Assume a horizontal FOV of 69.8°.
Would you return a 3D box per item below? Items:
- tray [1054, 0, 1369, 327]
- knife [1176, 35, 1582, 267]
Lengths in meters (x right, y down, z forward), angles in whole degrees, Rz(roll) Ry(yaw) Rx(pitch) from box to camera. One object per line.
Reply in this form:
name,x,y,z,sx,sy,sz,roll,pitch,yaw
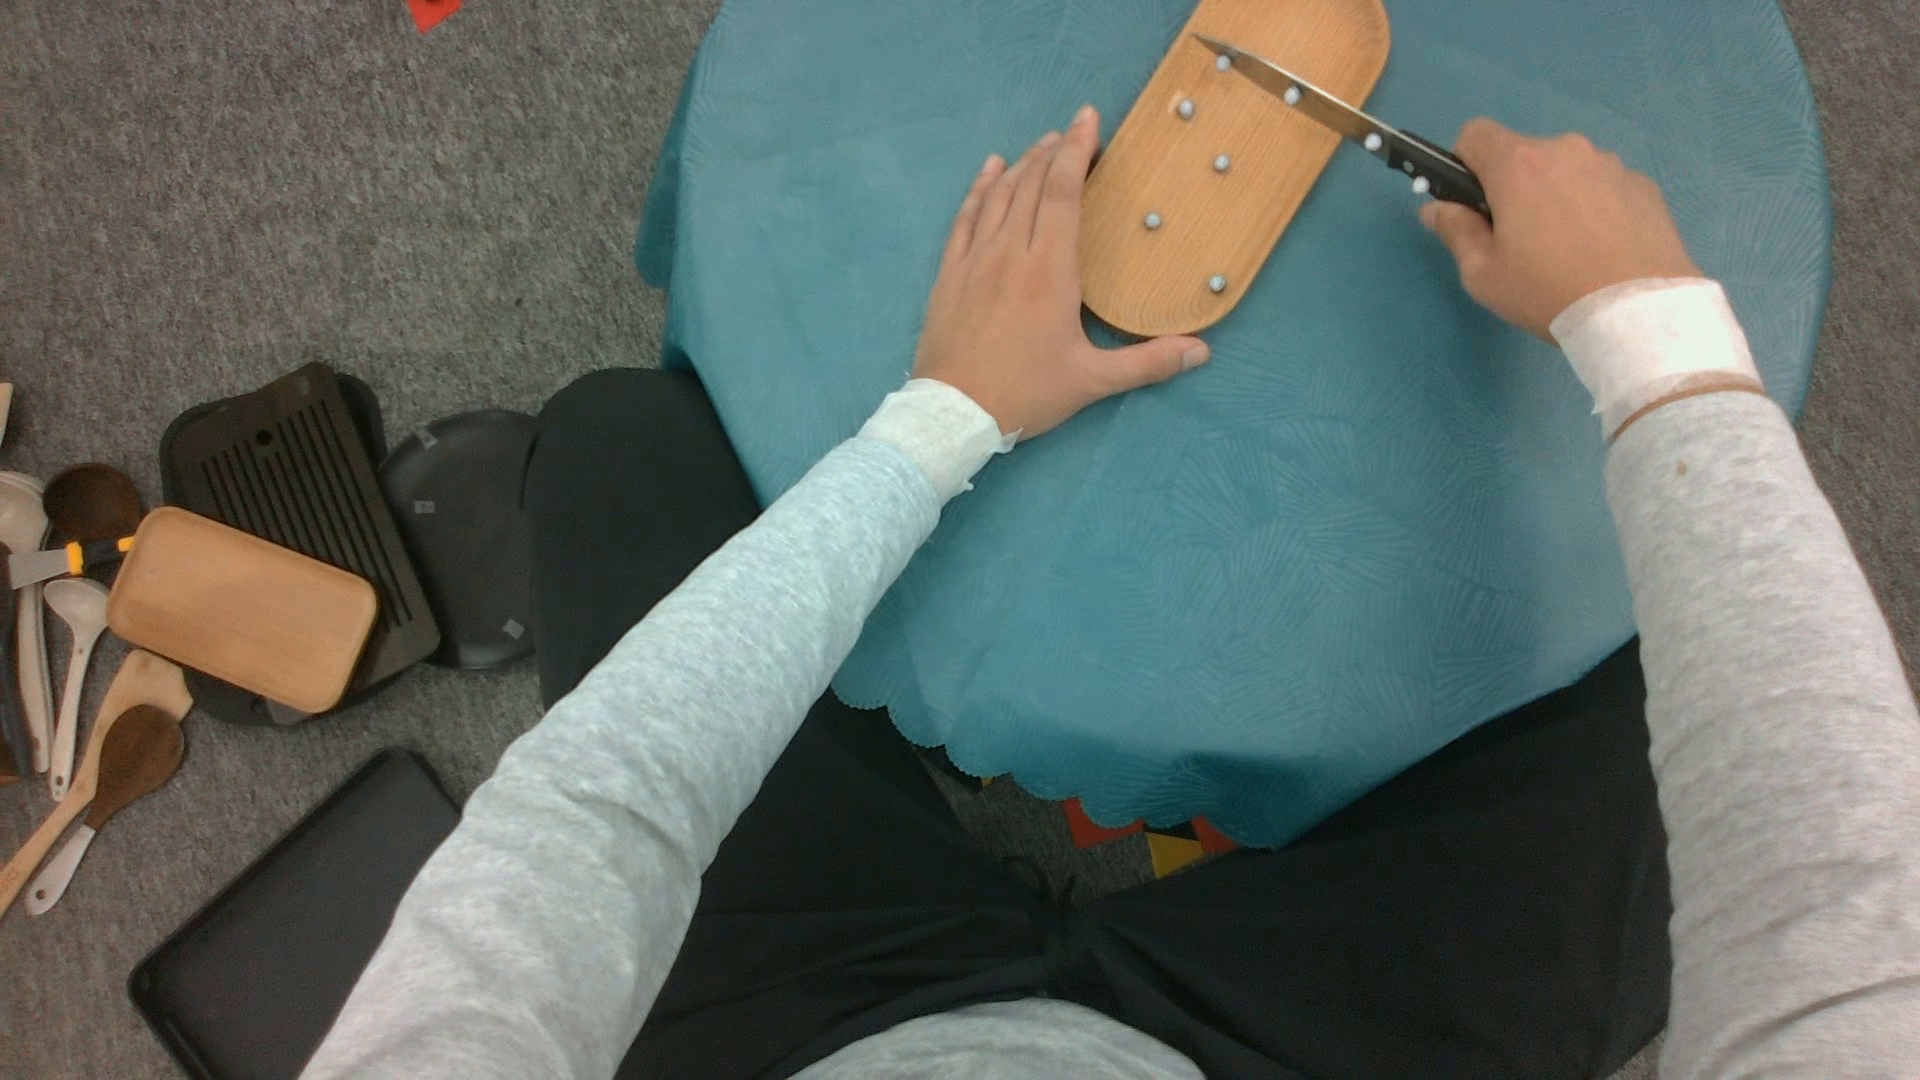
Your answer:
tray,0.132,-0.214,0.722,0.101,0.020,0.231,29,81,6
knife,0.199,-0.200,0.679,0.238,0.024,0.016,38,78,23
